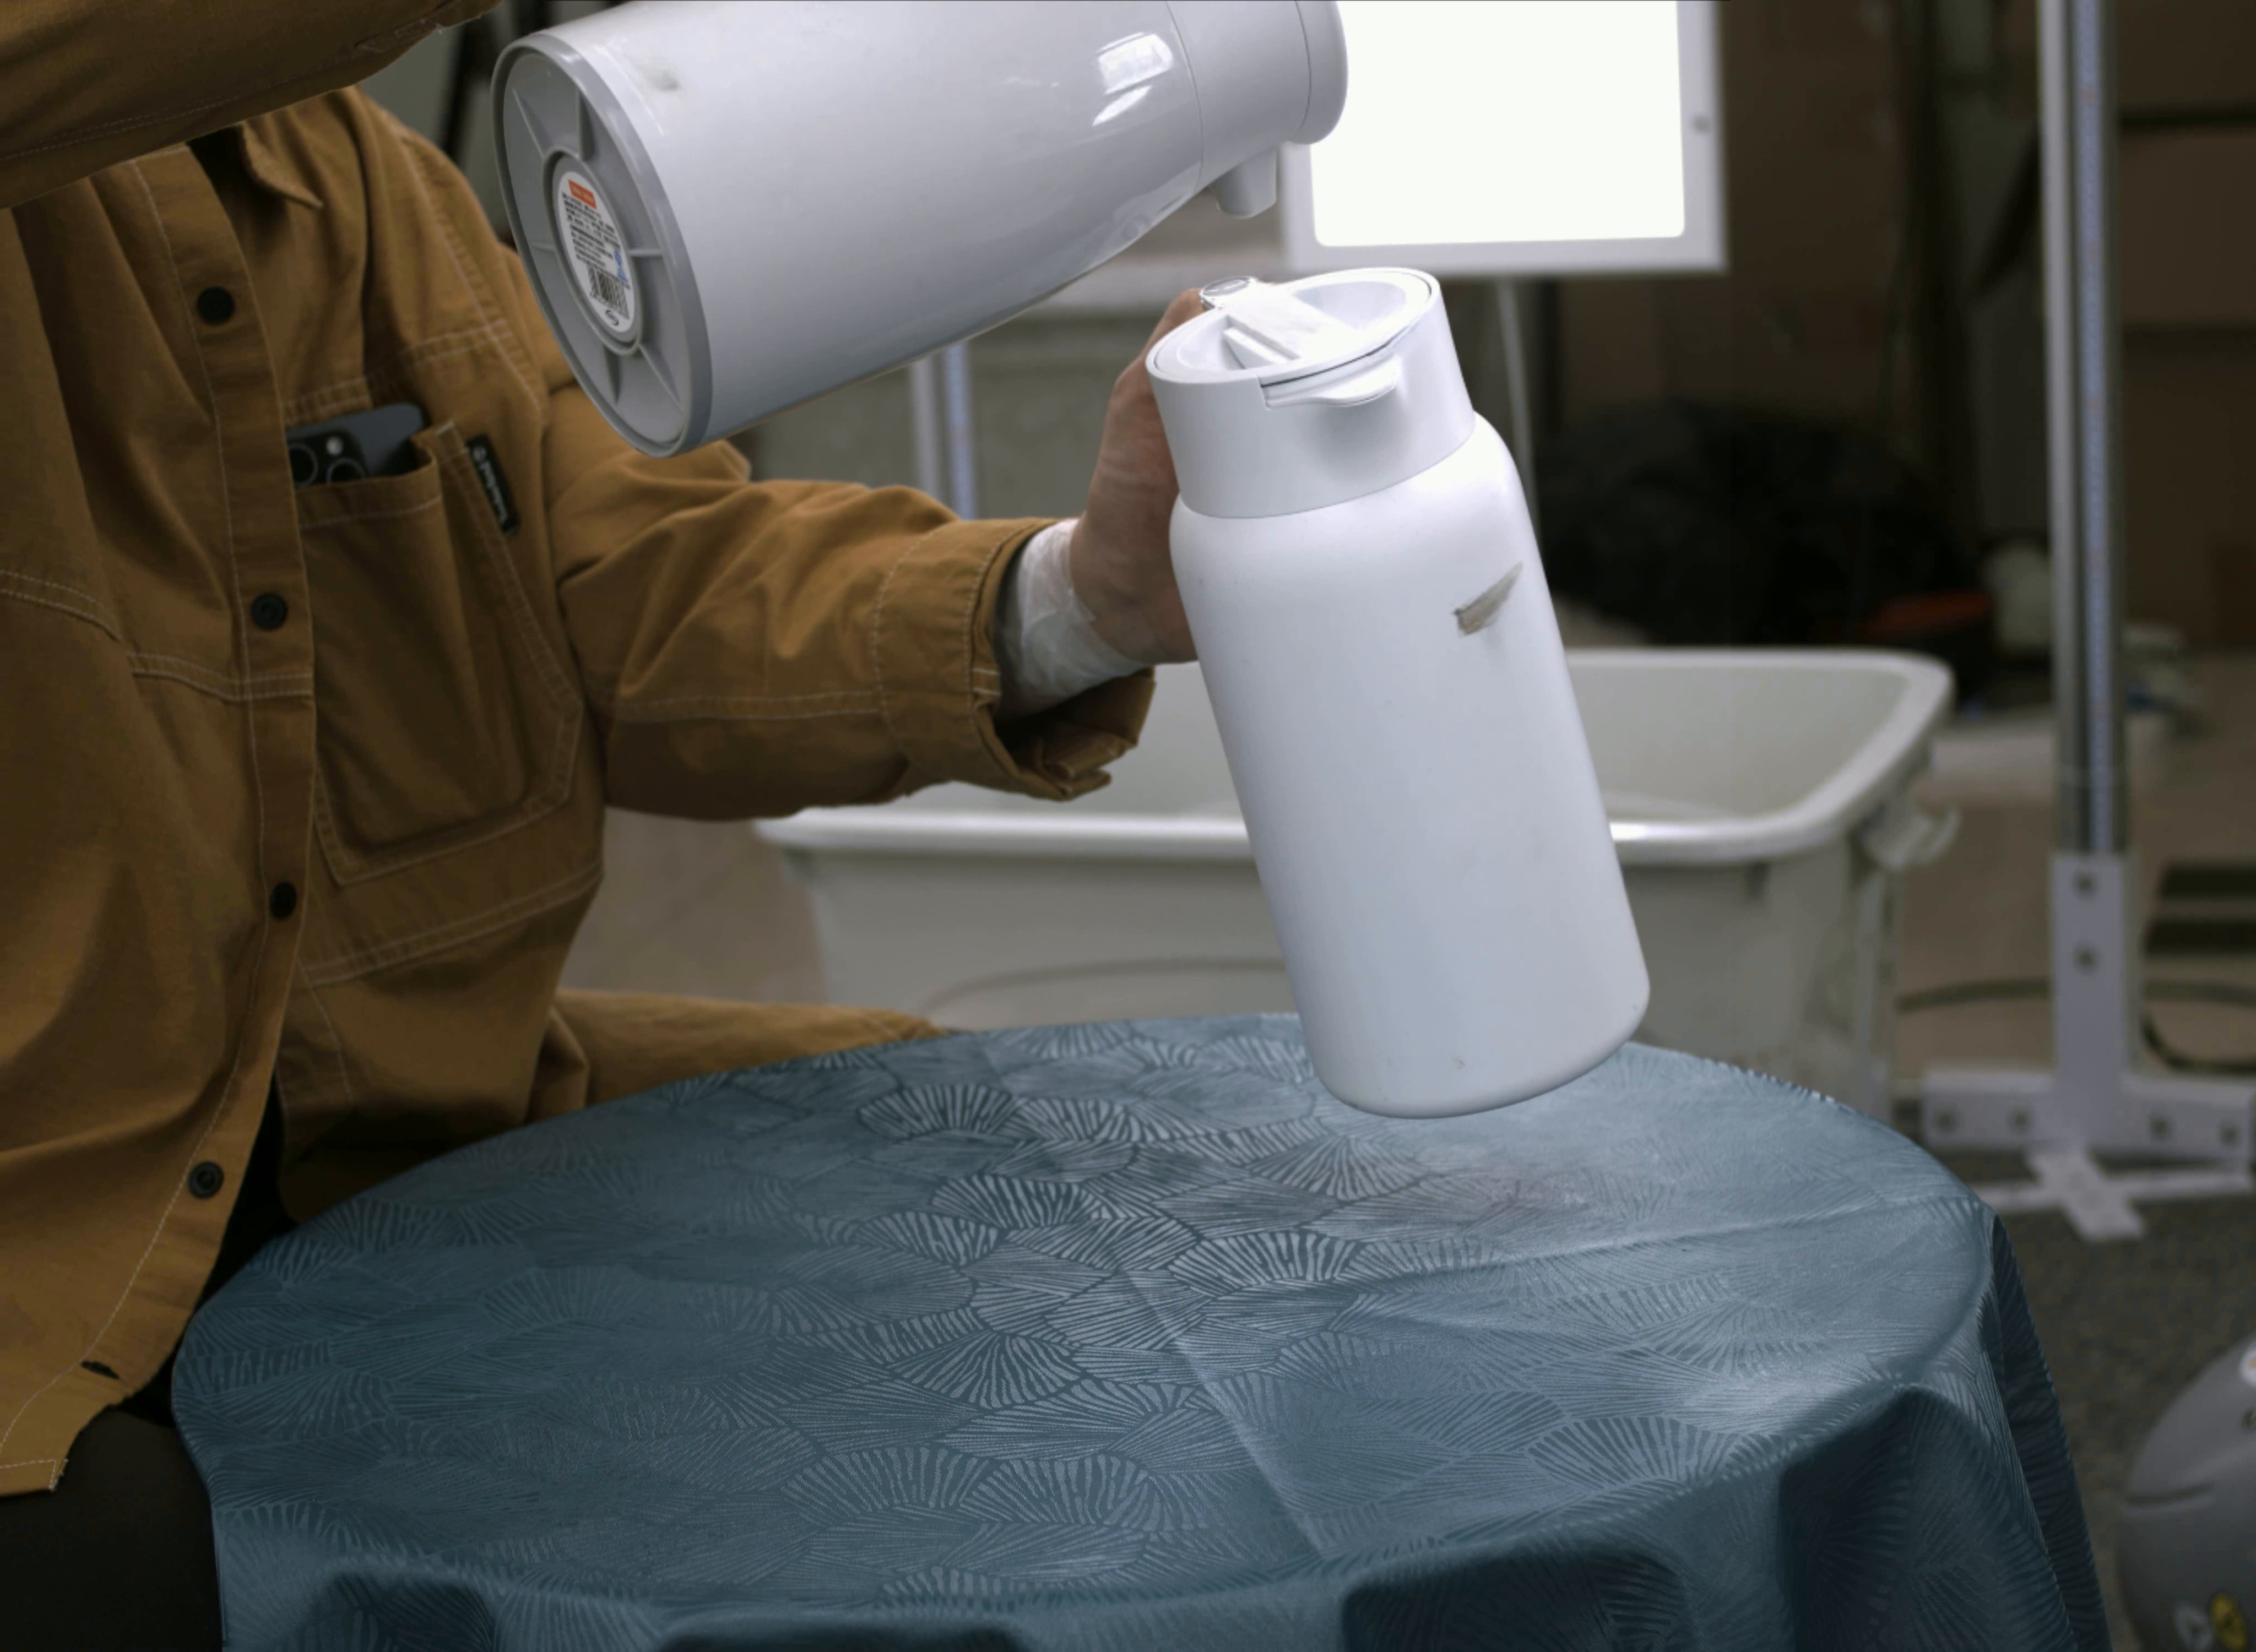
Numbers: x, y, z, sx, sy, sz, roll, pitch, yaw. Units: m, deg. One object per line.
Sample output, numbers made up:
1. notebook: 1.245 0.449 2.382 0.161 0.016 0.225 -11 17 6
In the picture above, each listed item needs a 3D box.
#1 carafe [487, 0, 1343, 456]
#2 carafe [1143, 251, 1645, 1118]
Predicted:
1. carafe: -0.058 -0.232 1.670 0.244 0.168 0.134 -24 34 -19
2. carafe: 0.079 -0.049 1.822 0.122 0.269 0.174 -23 21 -11
